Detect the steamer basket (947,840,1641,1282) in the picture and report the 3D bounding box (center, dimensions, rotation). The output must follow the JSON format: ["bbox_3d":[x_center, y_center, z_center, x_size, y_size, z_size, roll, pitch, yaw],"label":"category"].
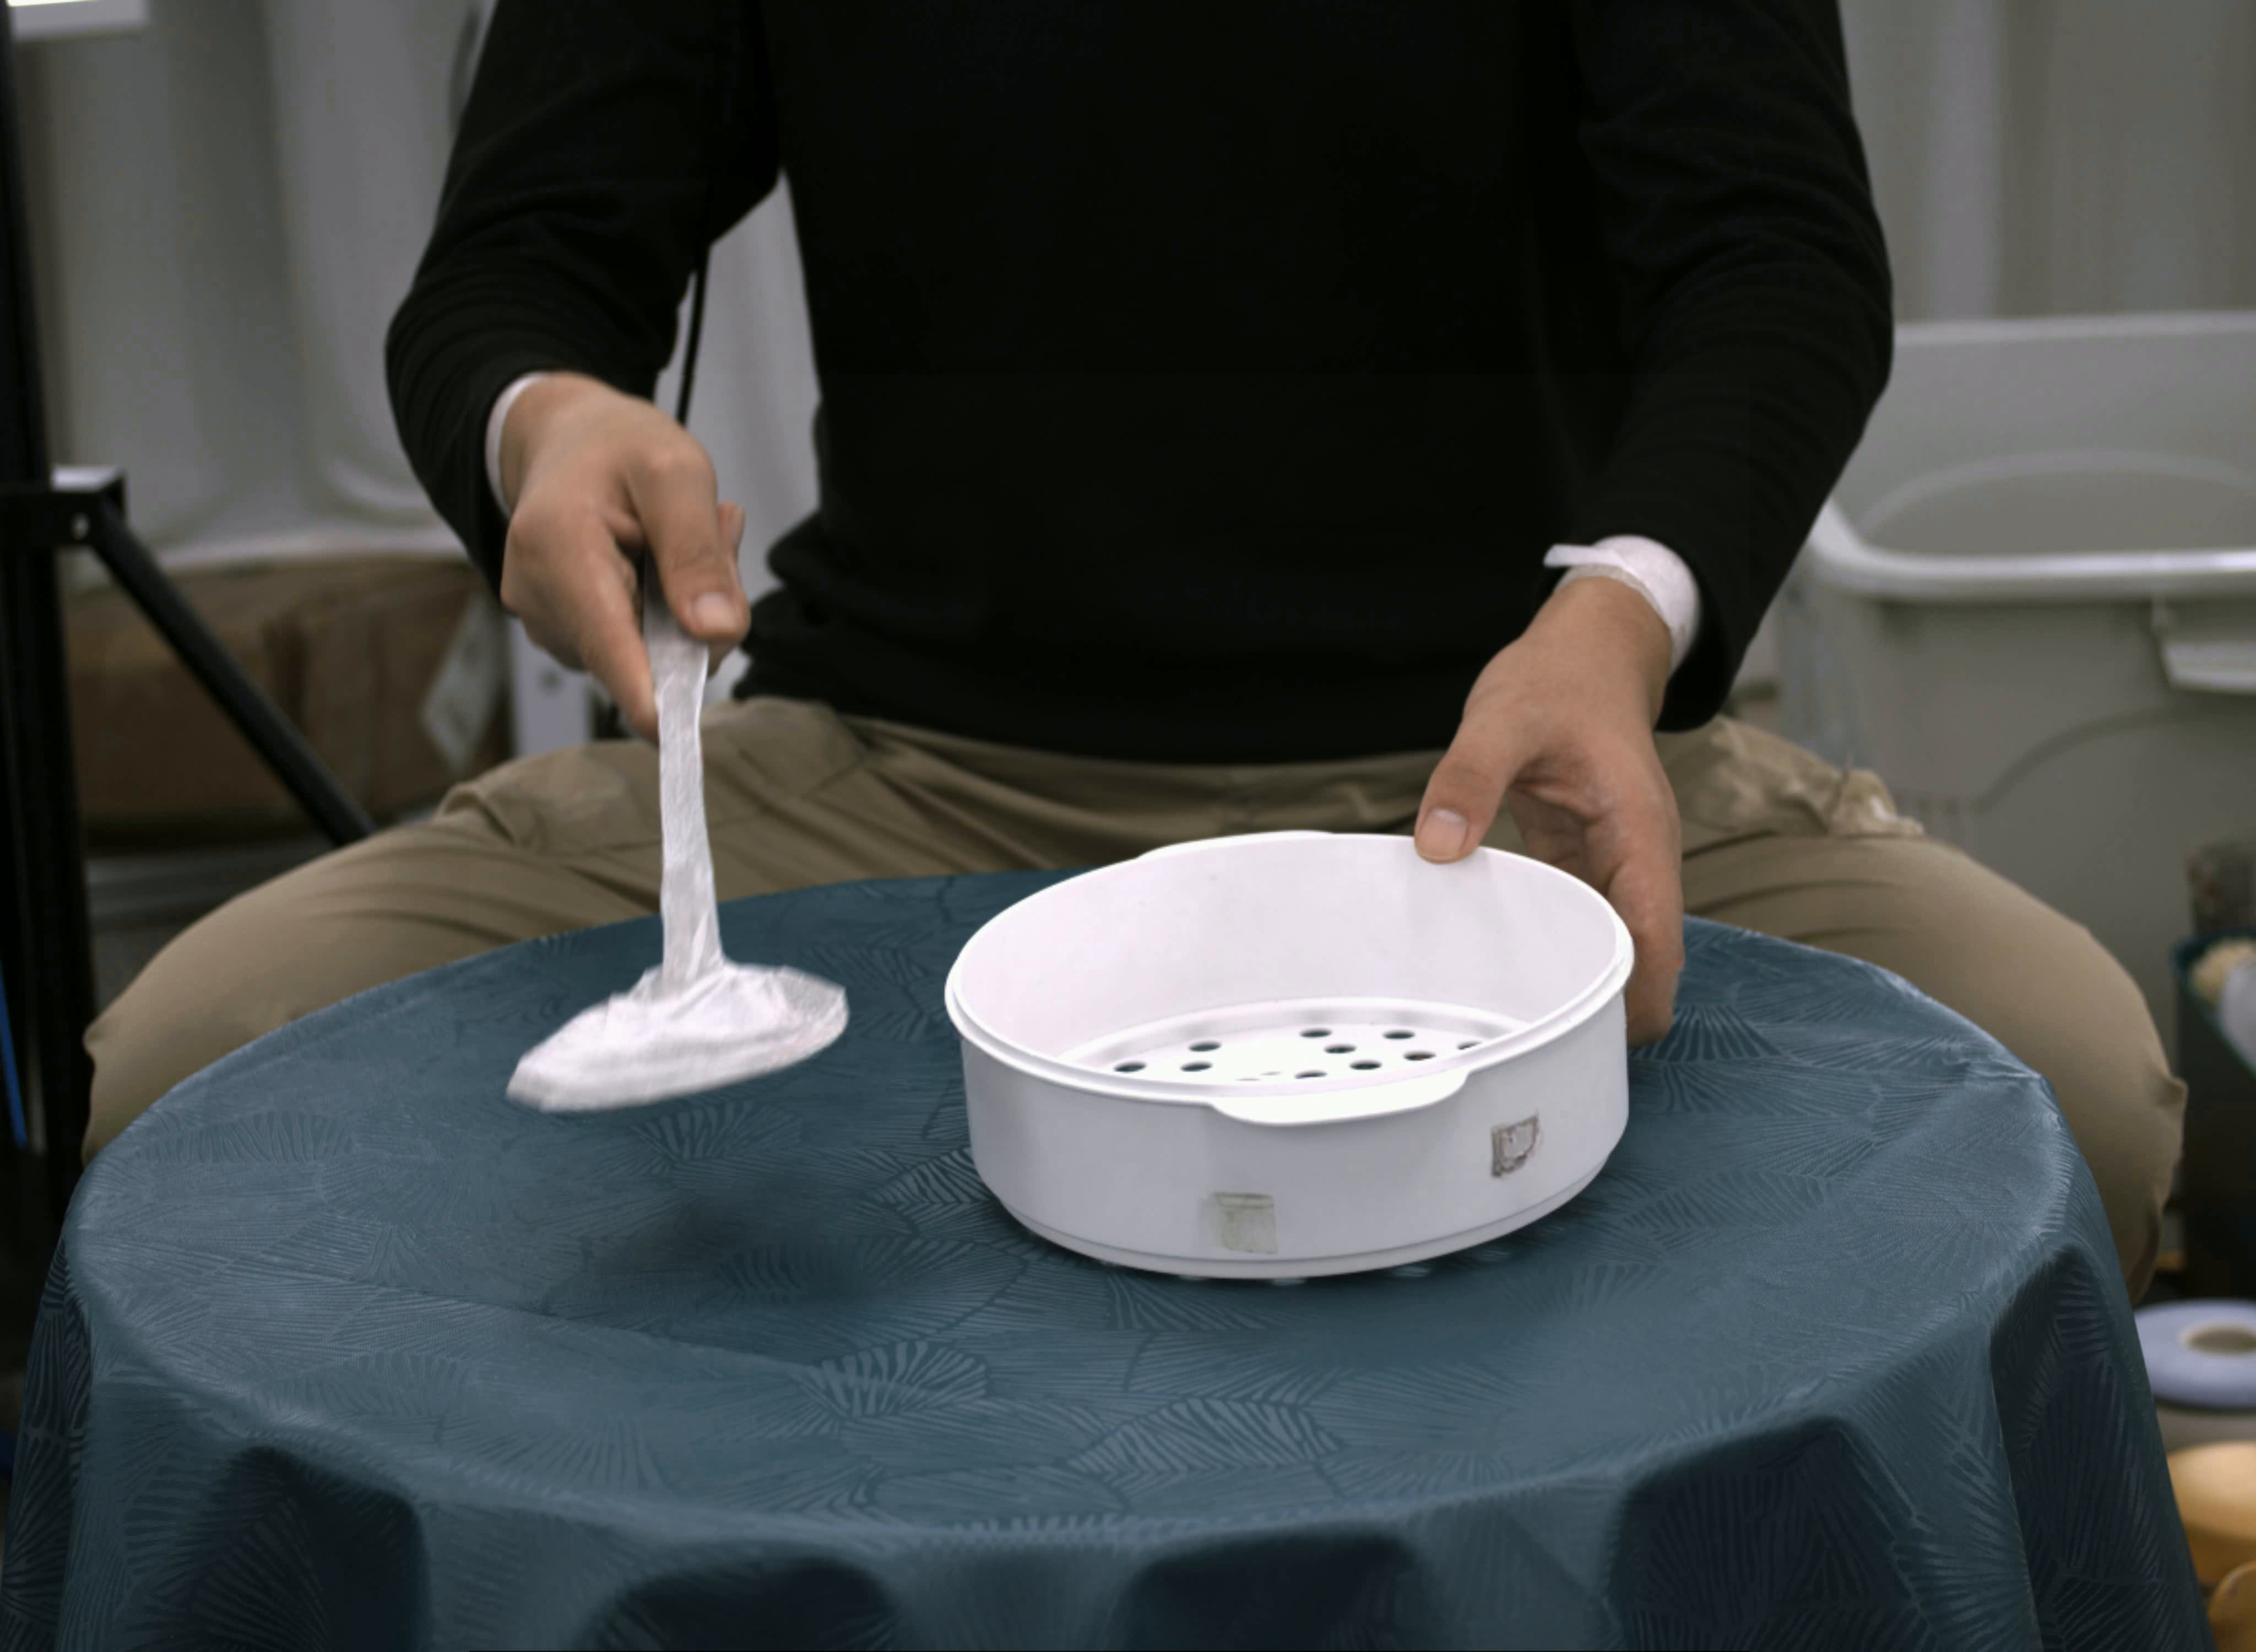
[{"bbox_3d":[0.049,0.068,1.545,0.200,0.069,0.232,-5,19,-4],"label":"steamer basket"}]

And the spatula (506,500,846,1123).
[{"bbox_3d":[-0.135,-0.015,1.632,0.098,0.044,0.369,-13,36,5],"label":"spatula"}]
